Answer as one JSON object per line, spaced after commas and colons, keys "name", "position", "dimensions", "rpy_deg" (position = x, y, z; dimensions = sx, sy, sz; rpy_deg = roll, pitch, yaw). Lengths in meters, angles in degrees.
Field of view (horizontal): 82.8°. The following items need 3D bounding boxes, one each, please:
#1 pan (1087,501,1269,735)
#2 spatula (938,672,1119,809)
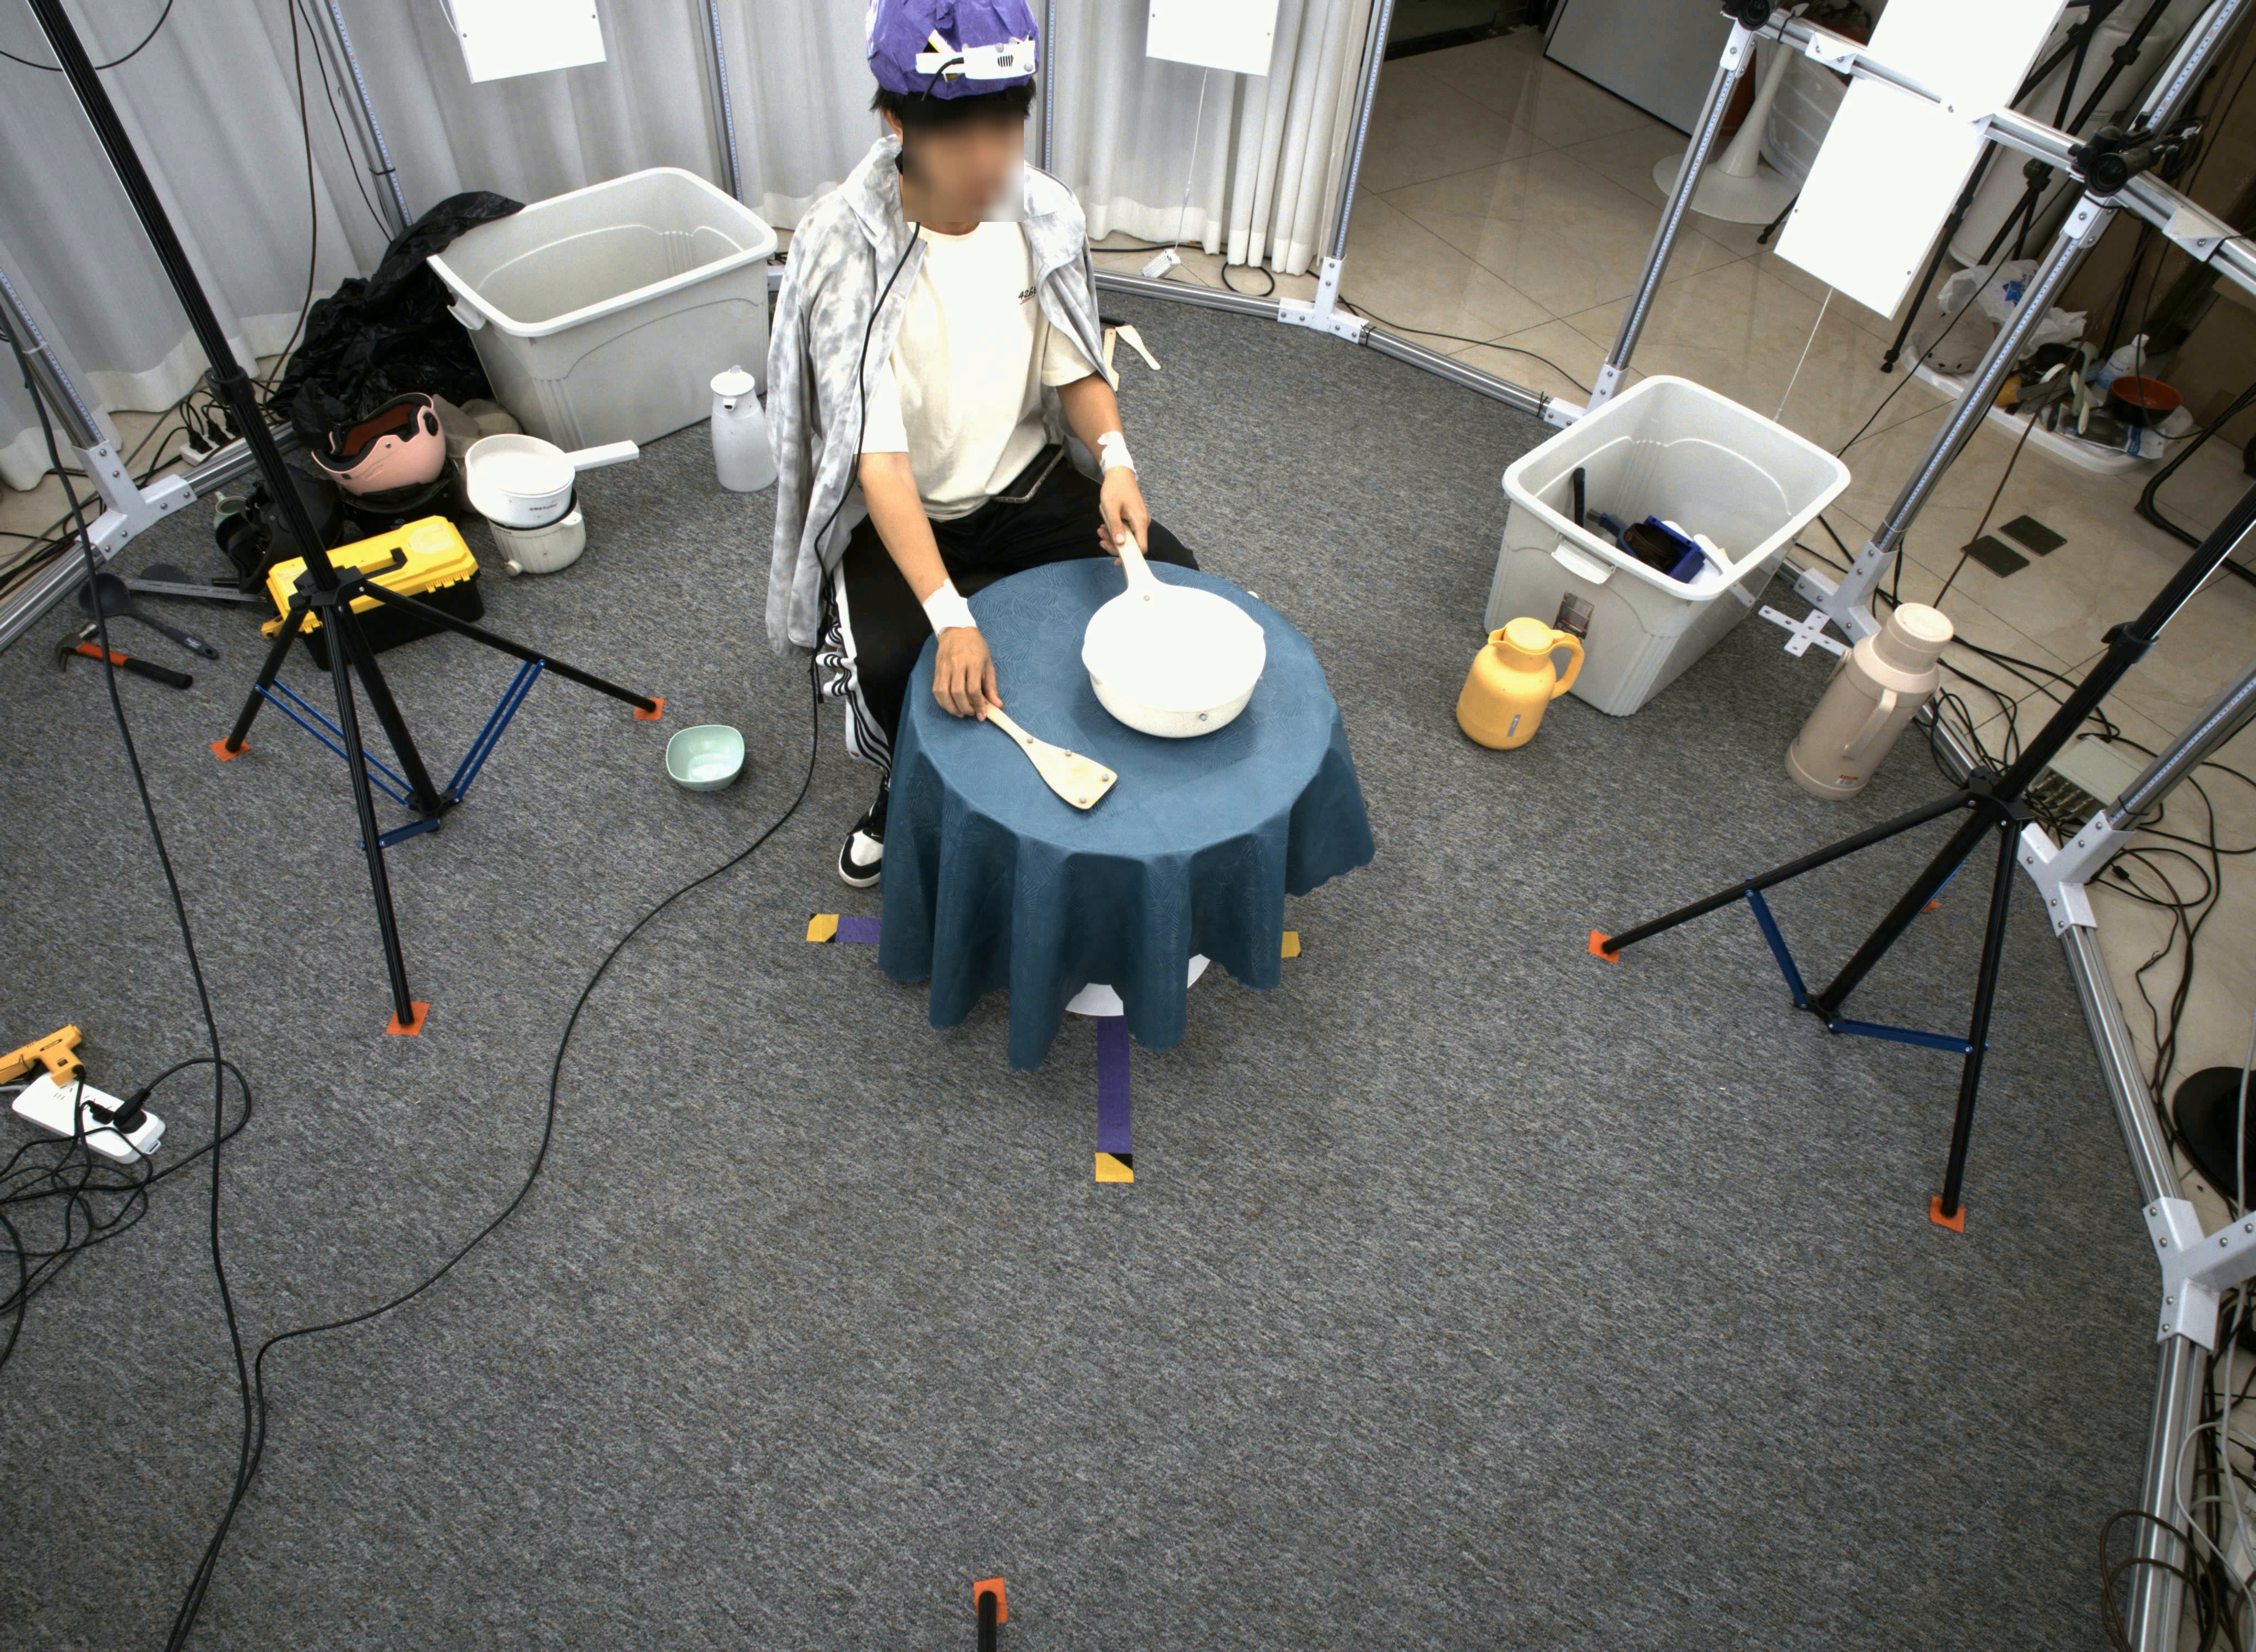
{"name": "pan", "position": [0.039, -0.301, 1.861], "dimensions": [0.263, 0.099, 0.445], "rpy_deg": [-13, 51, -13]}
{"name": "spatula", "position": [-0.145, -0.127, 1.750], "dimensions": [0.332, 0.016, 0.080], "rpy_deg": [38, 56, 26]}
